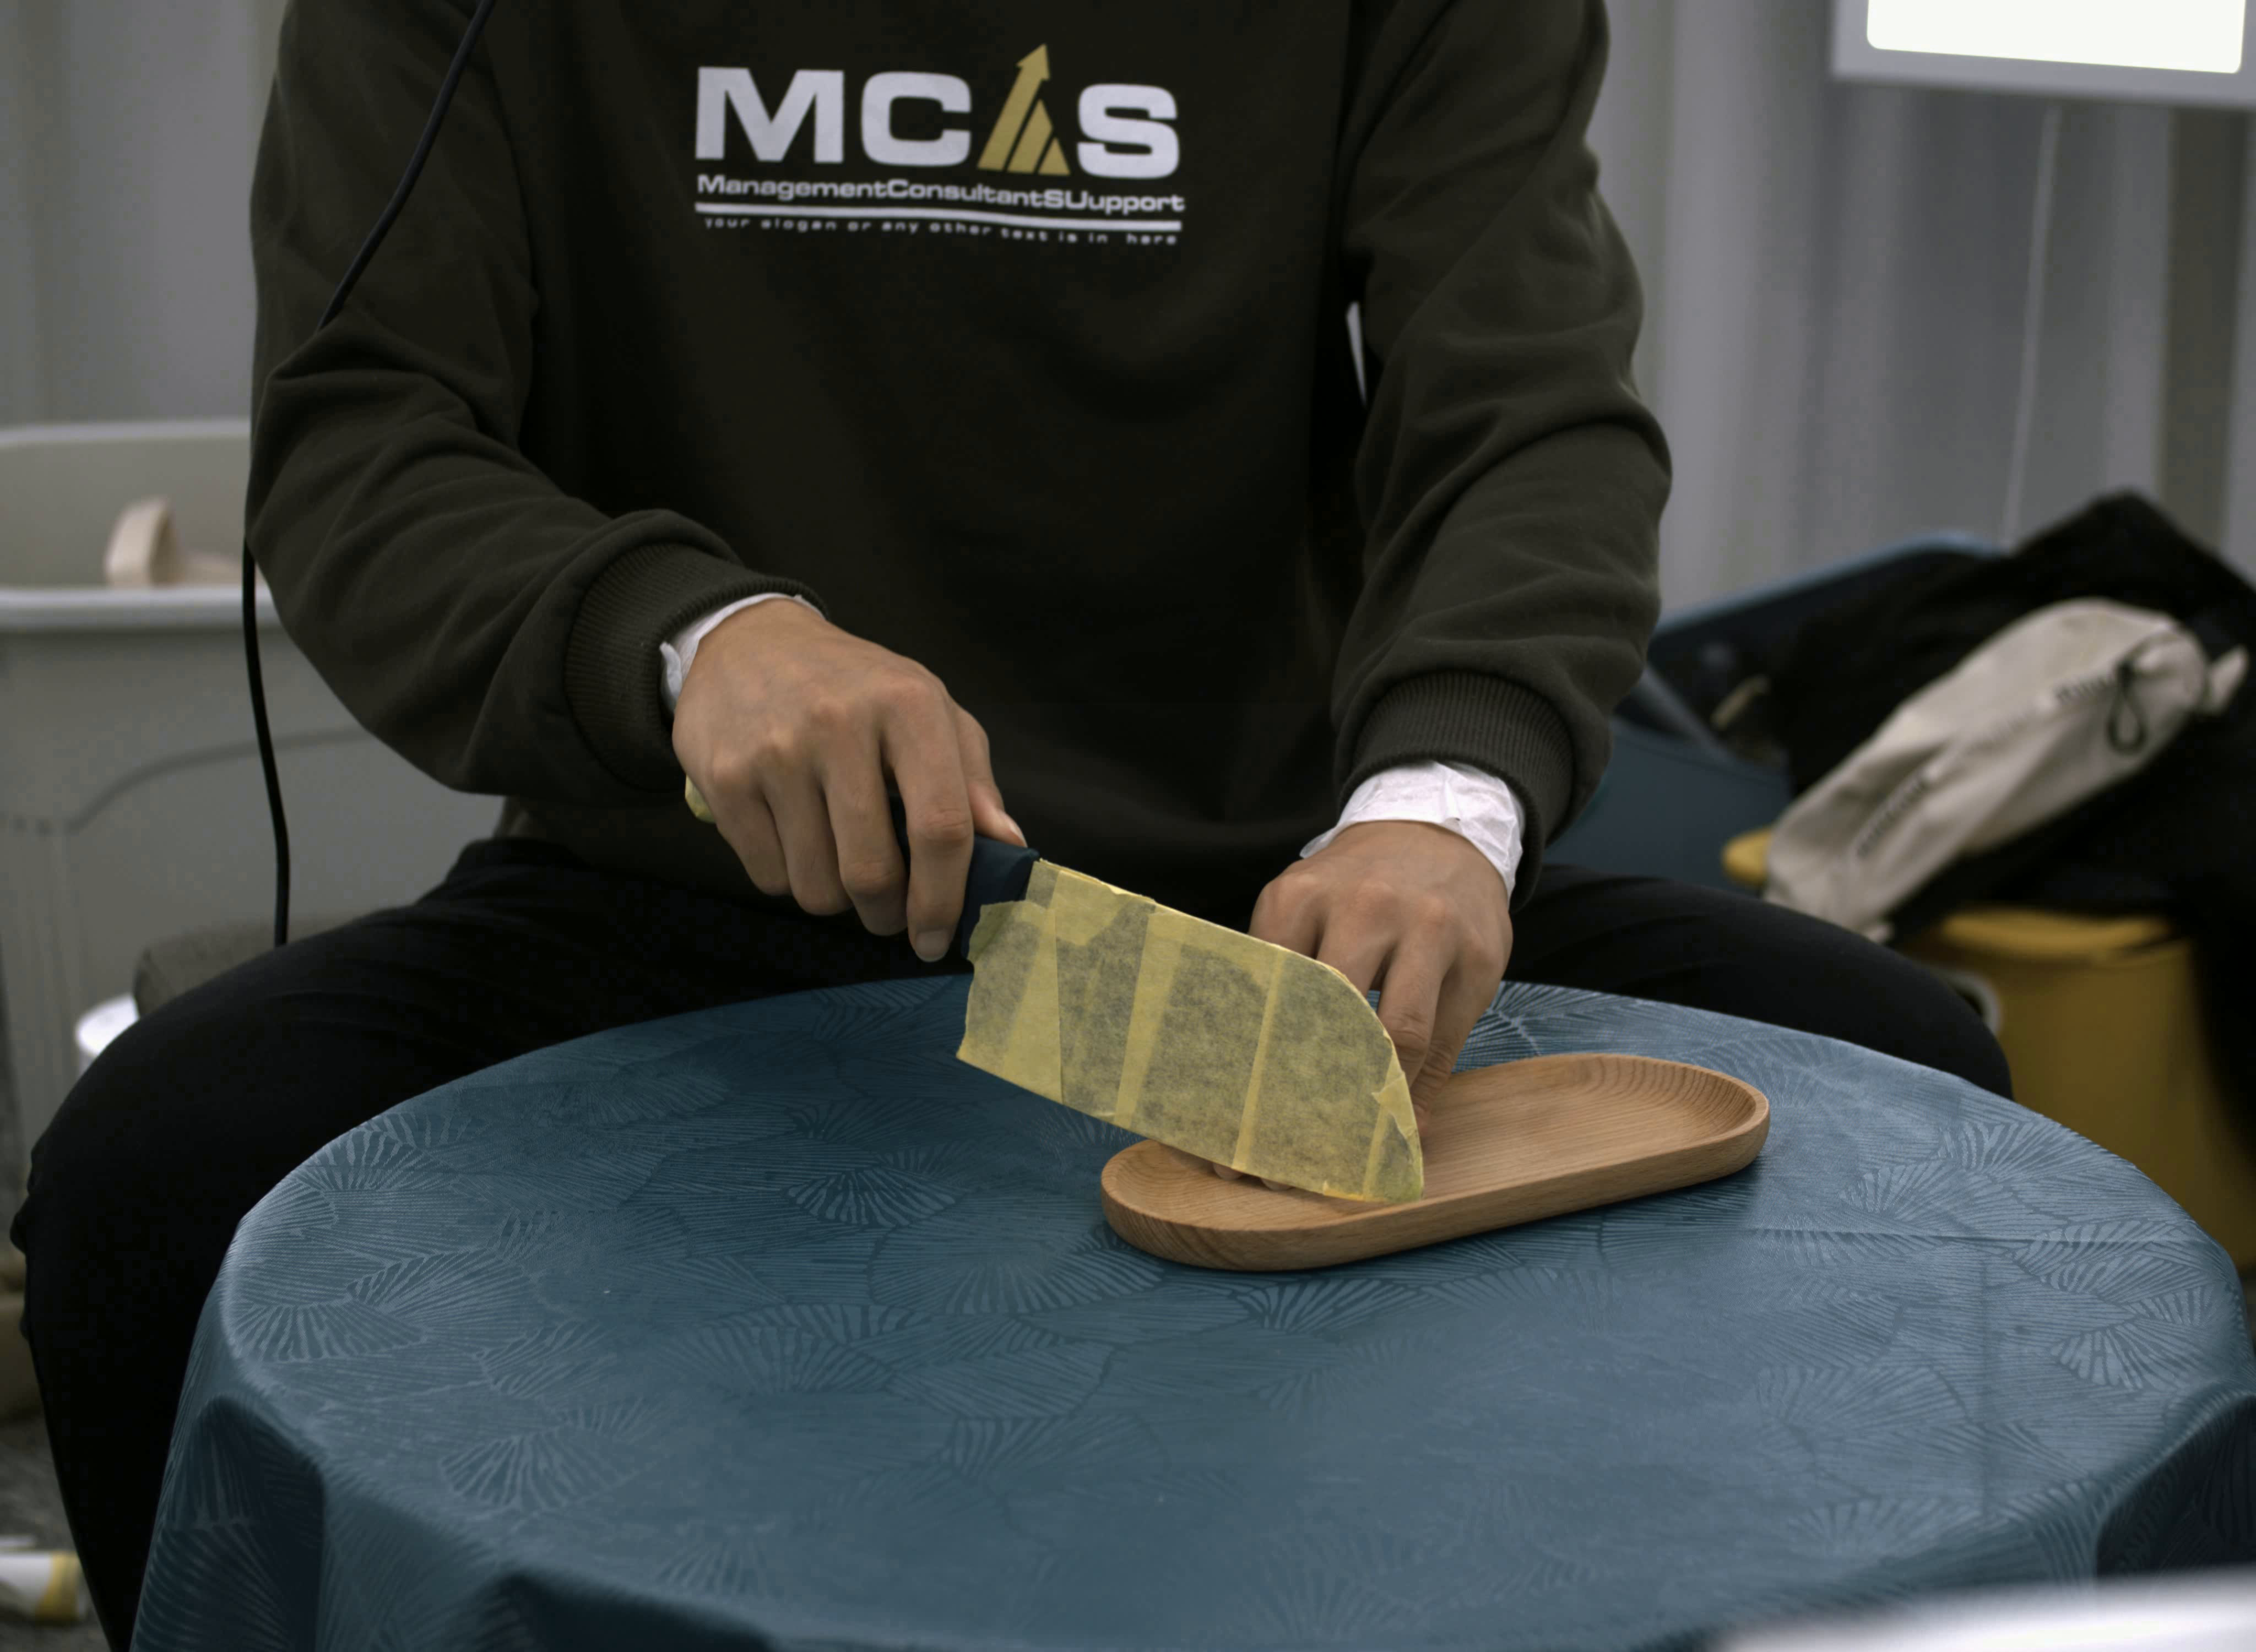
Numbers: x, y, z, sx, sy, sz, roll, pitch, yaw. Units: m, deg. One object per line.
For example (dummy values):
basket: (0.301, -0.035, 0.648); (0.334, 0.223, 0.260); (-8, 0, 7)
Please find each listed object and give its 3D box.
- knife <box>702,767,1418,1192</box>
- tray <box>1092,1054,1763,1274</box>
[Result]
knife: (-0.025, 0.045, 1.644); (0.286, 0.081, 0.027); (24, 16, 31)
tray: (0.095, 0.104, 1.628); (0.232, 0.020, 0.100); (-11, 18, -31)
